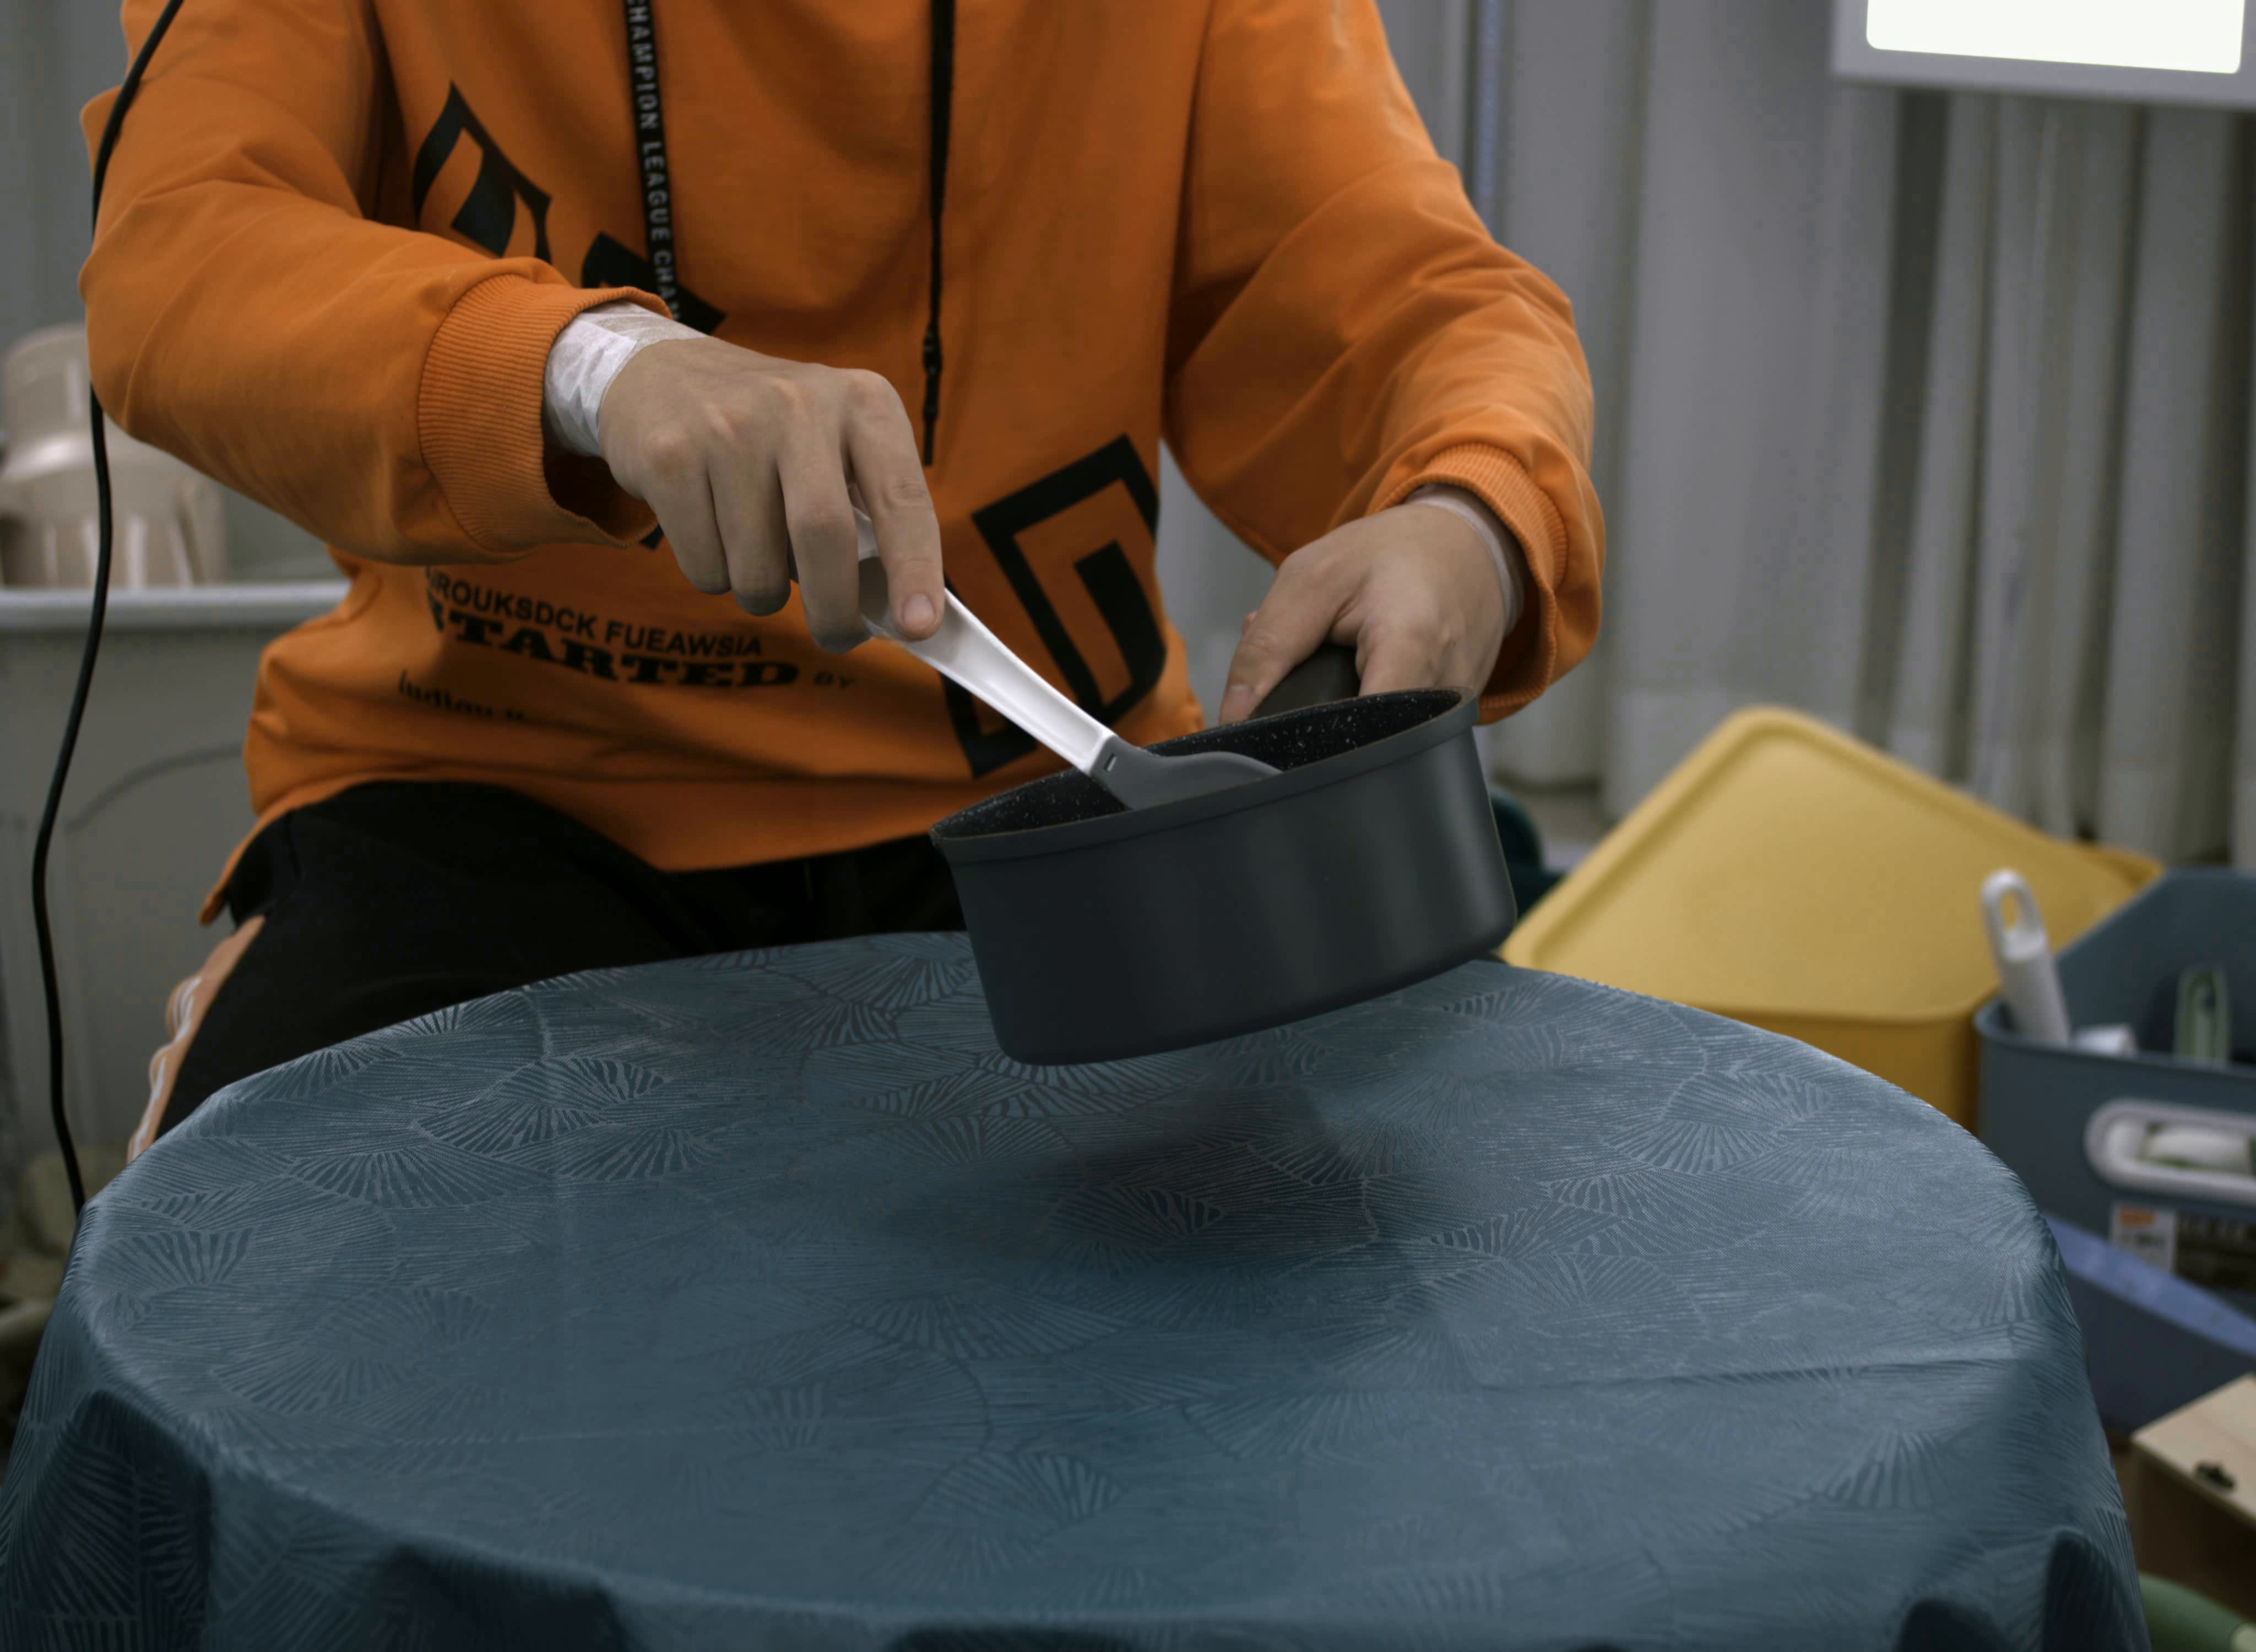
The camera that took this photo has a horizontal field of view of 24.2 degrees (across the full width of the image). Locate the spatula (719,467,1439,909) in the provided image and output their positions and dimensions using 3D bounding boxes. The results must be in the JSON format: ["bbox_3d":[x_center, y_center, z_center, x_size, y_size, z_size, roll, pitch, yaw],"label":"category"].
[{"bbox_3d":[-0.022,-0.038,1.614,0.284,0.059,0.032,32,9,34],"label":"spatula"}]

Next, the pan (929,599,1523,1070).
[{"bbox_3d":[0.051,-0.002,1.667,0.171,0.087,0.329,-11,9,17],"label":"pan"}]
